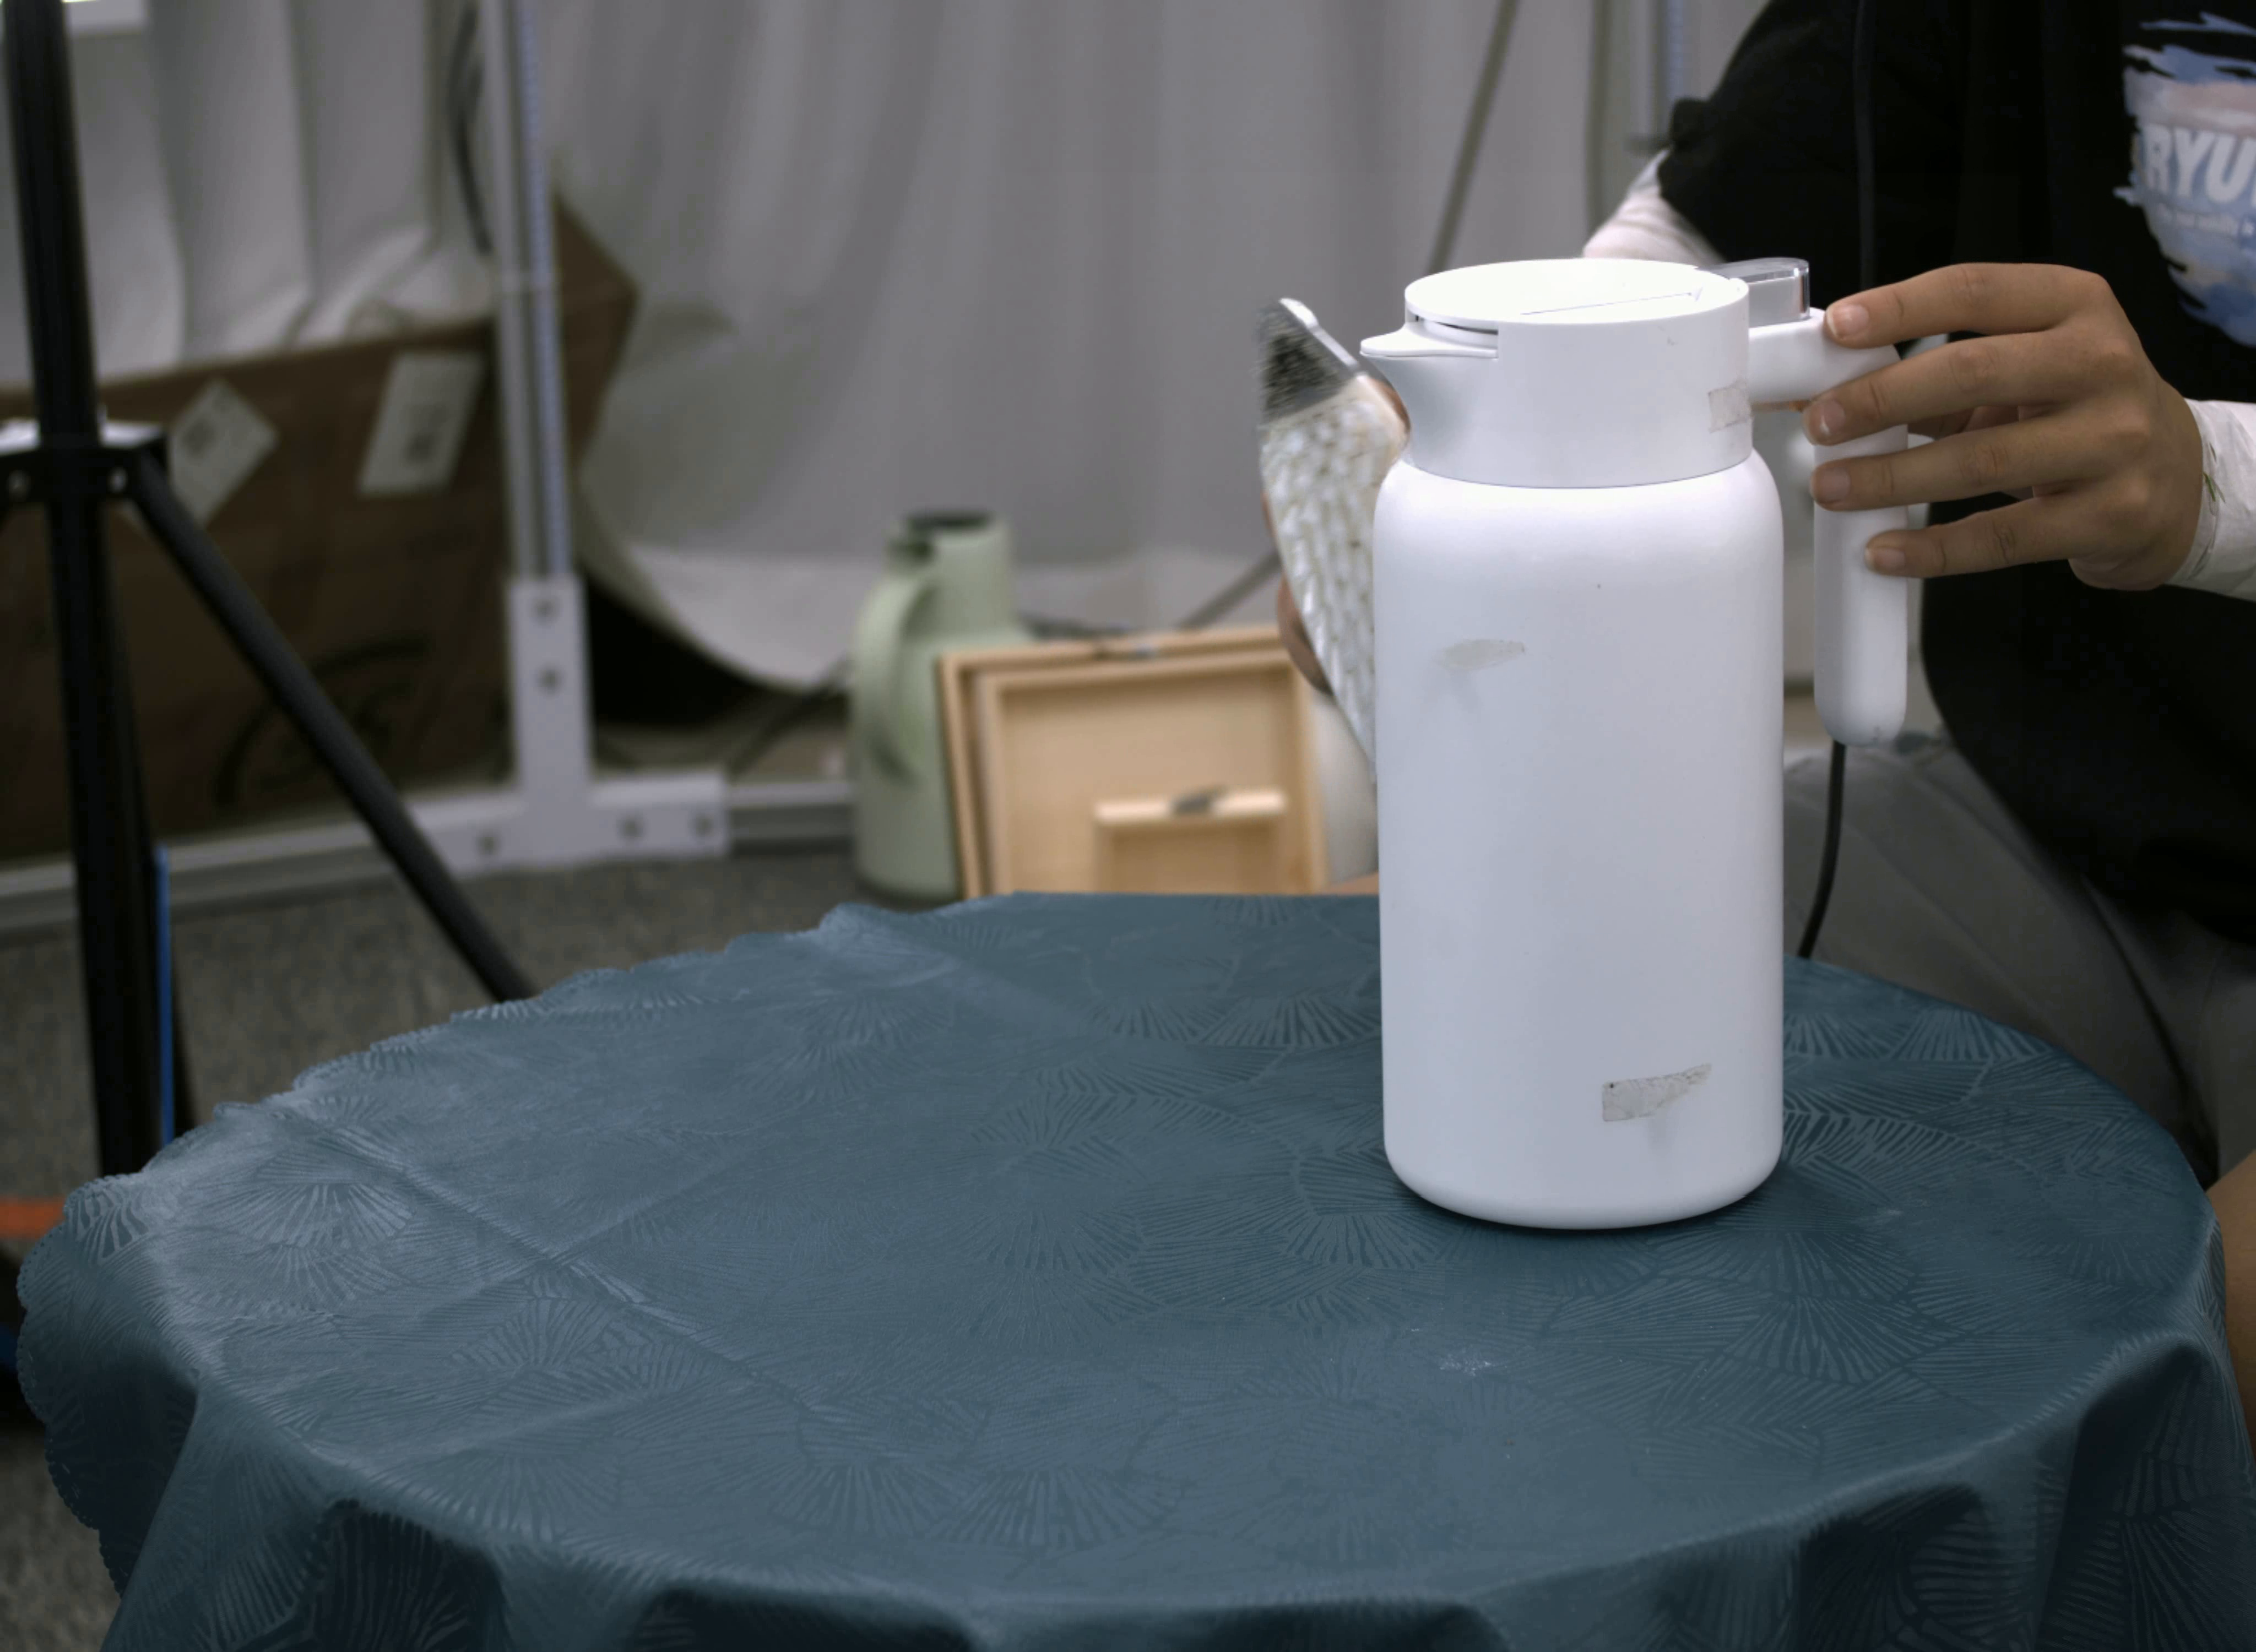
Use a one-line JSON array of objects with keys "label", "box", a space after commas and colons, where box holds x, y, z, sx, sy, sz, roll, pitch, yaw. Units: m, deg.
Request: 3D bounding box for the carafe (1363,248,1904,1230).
[{"label": "carafe", "box": [0.144, -0.028, 1.531, 0.169, 0.269, 0.126, -9, 14, -25]}]

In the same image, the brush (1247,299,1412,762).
[{"label": "brush", "box": [0.073, -0.094, 1.624, 0.061, 0.173, 0.095, -26, 29, 2]}]
